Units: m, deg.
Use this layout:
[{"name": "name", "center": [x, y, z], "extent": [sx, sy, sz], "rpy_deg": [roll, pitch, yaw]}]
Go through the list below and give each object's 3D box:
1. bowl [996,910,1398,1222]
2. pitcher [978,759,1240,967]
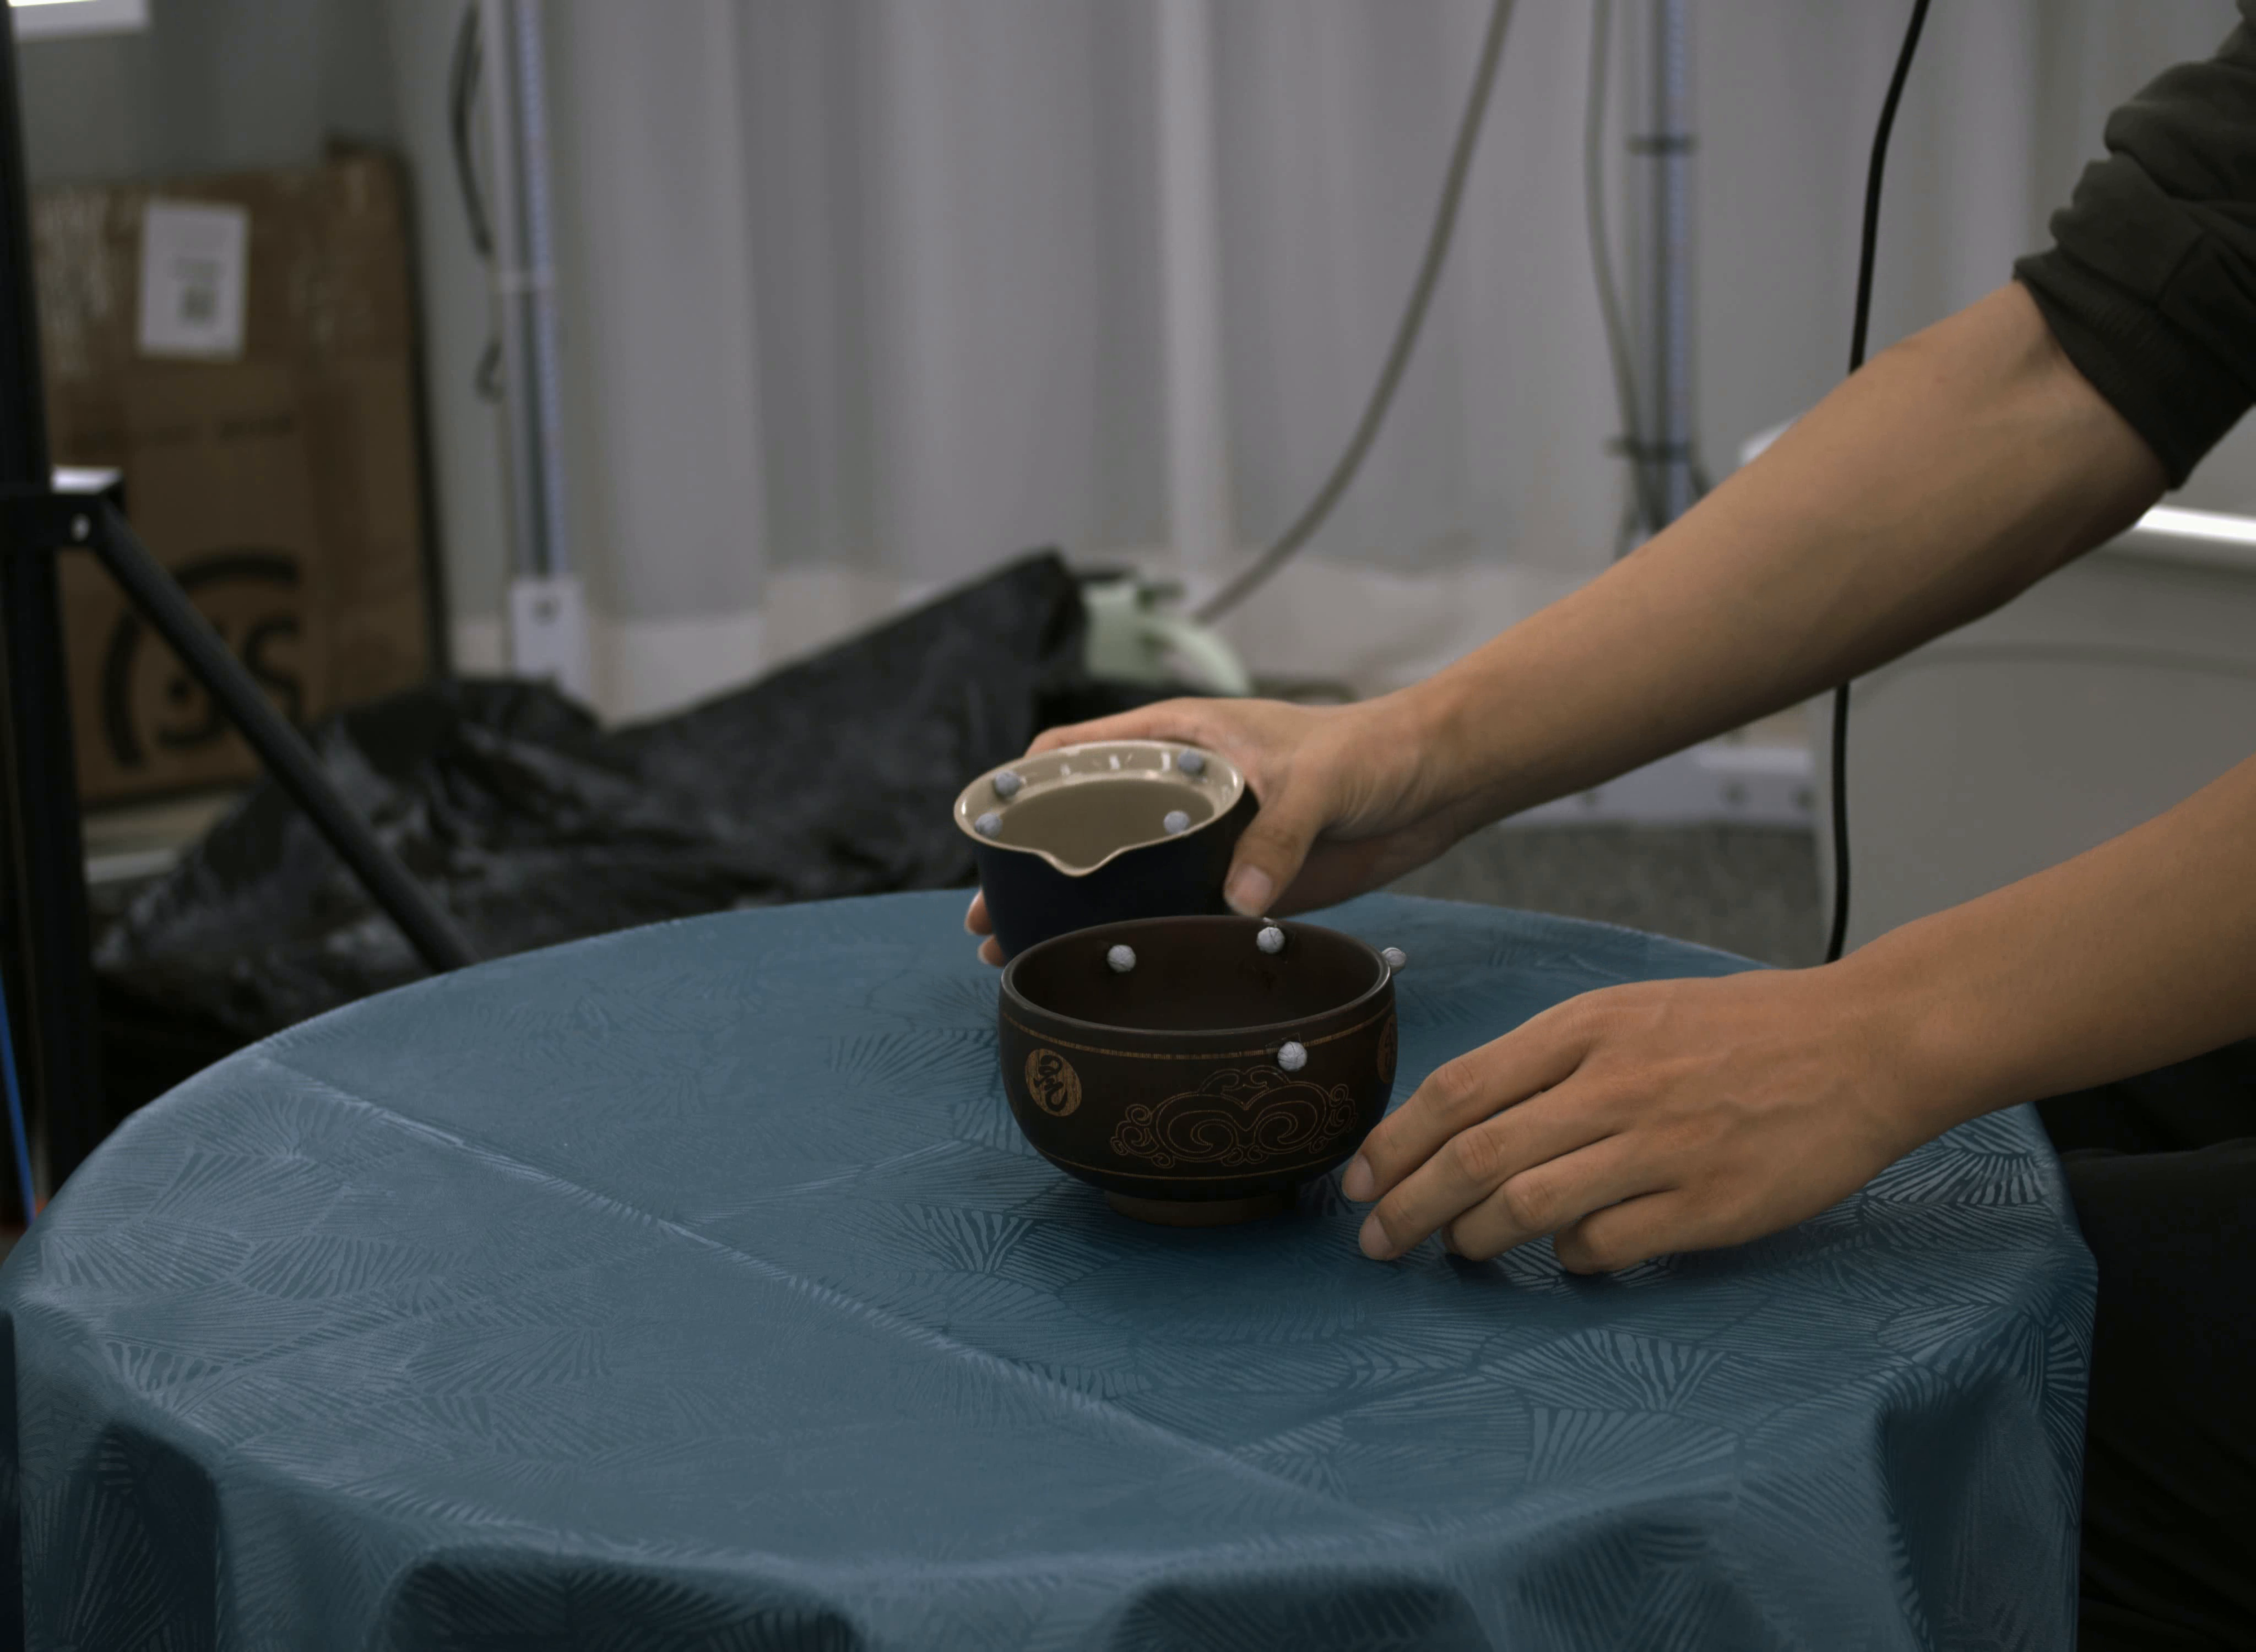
[{"name": "bowl", "center": [0.021, 0.074, 1.548], "extent": [0.117, 0.070, 0.118], "rpy_deg": [-5, 15, 0]}, {"name": "pitcher", "center": [-0.005, 0.024, 1.699], "extent": [0.084, 0.071, 0.095], "rpy_deg": [2, 22, 15]}]
